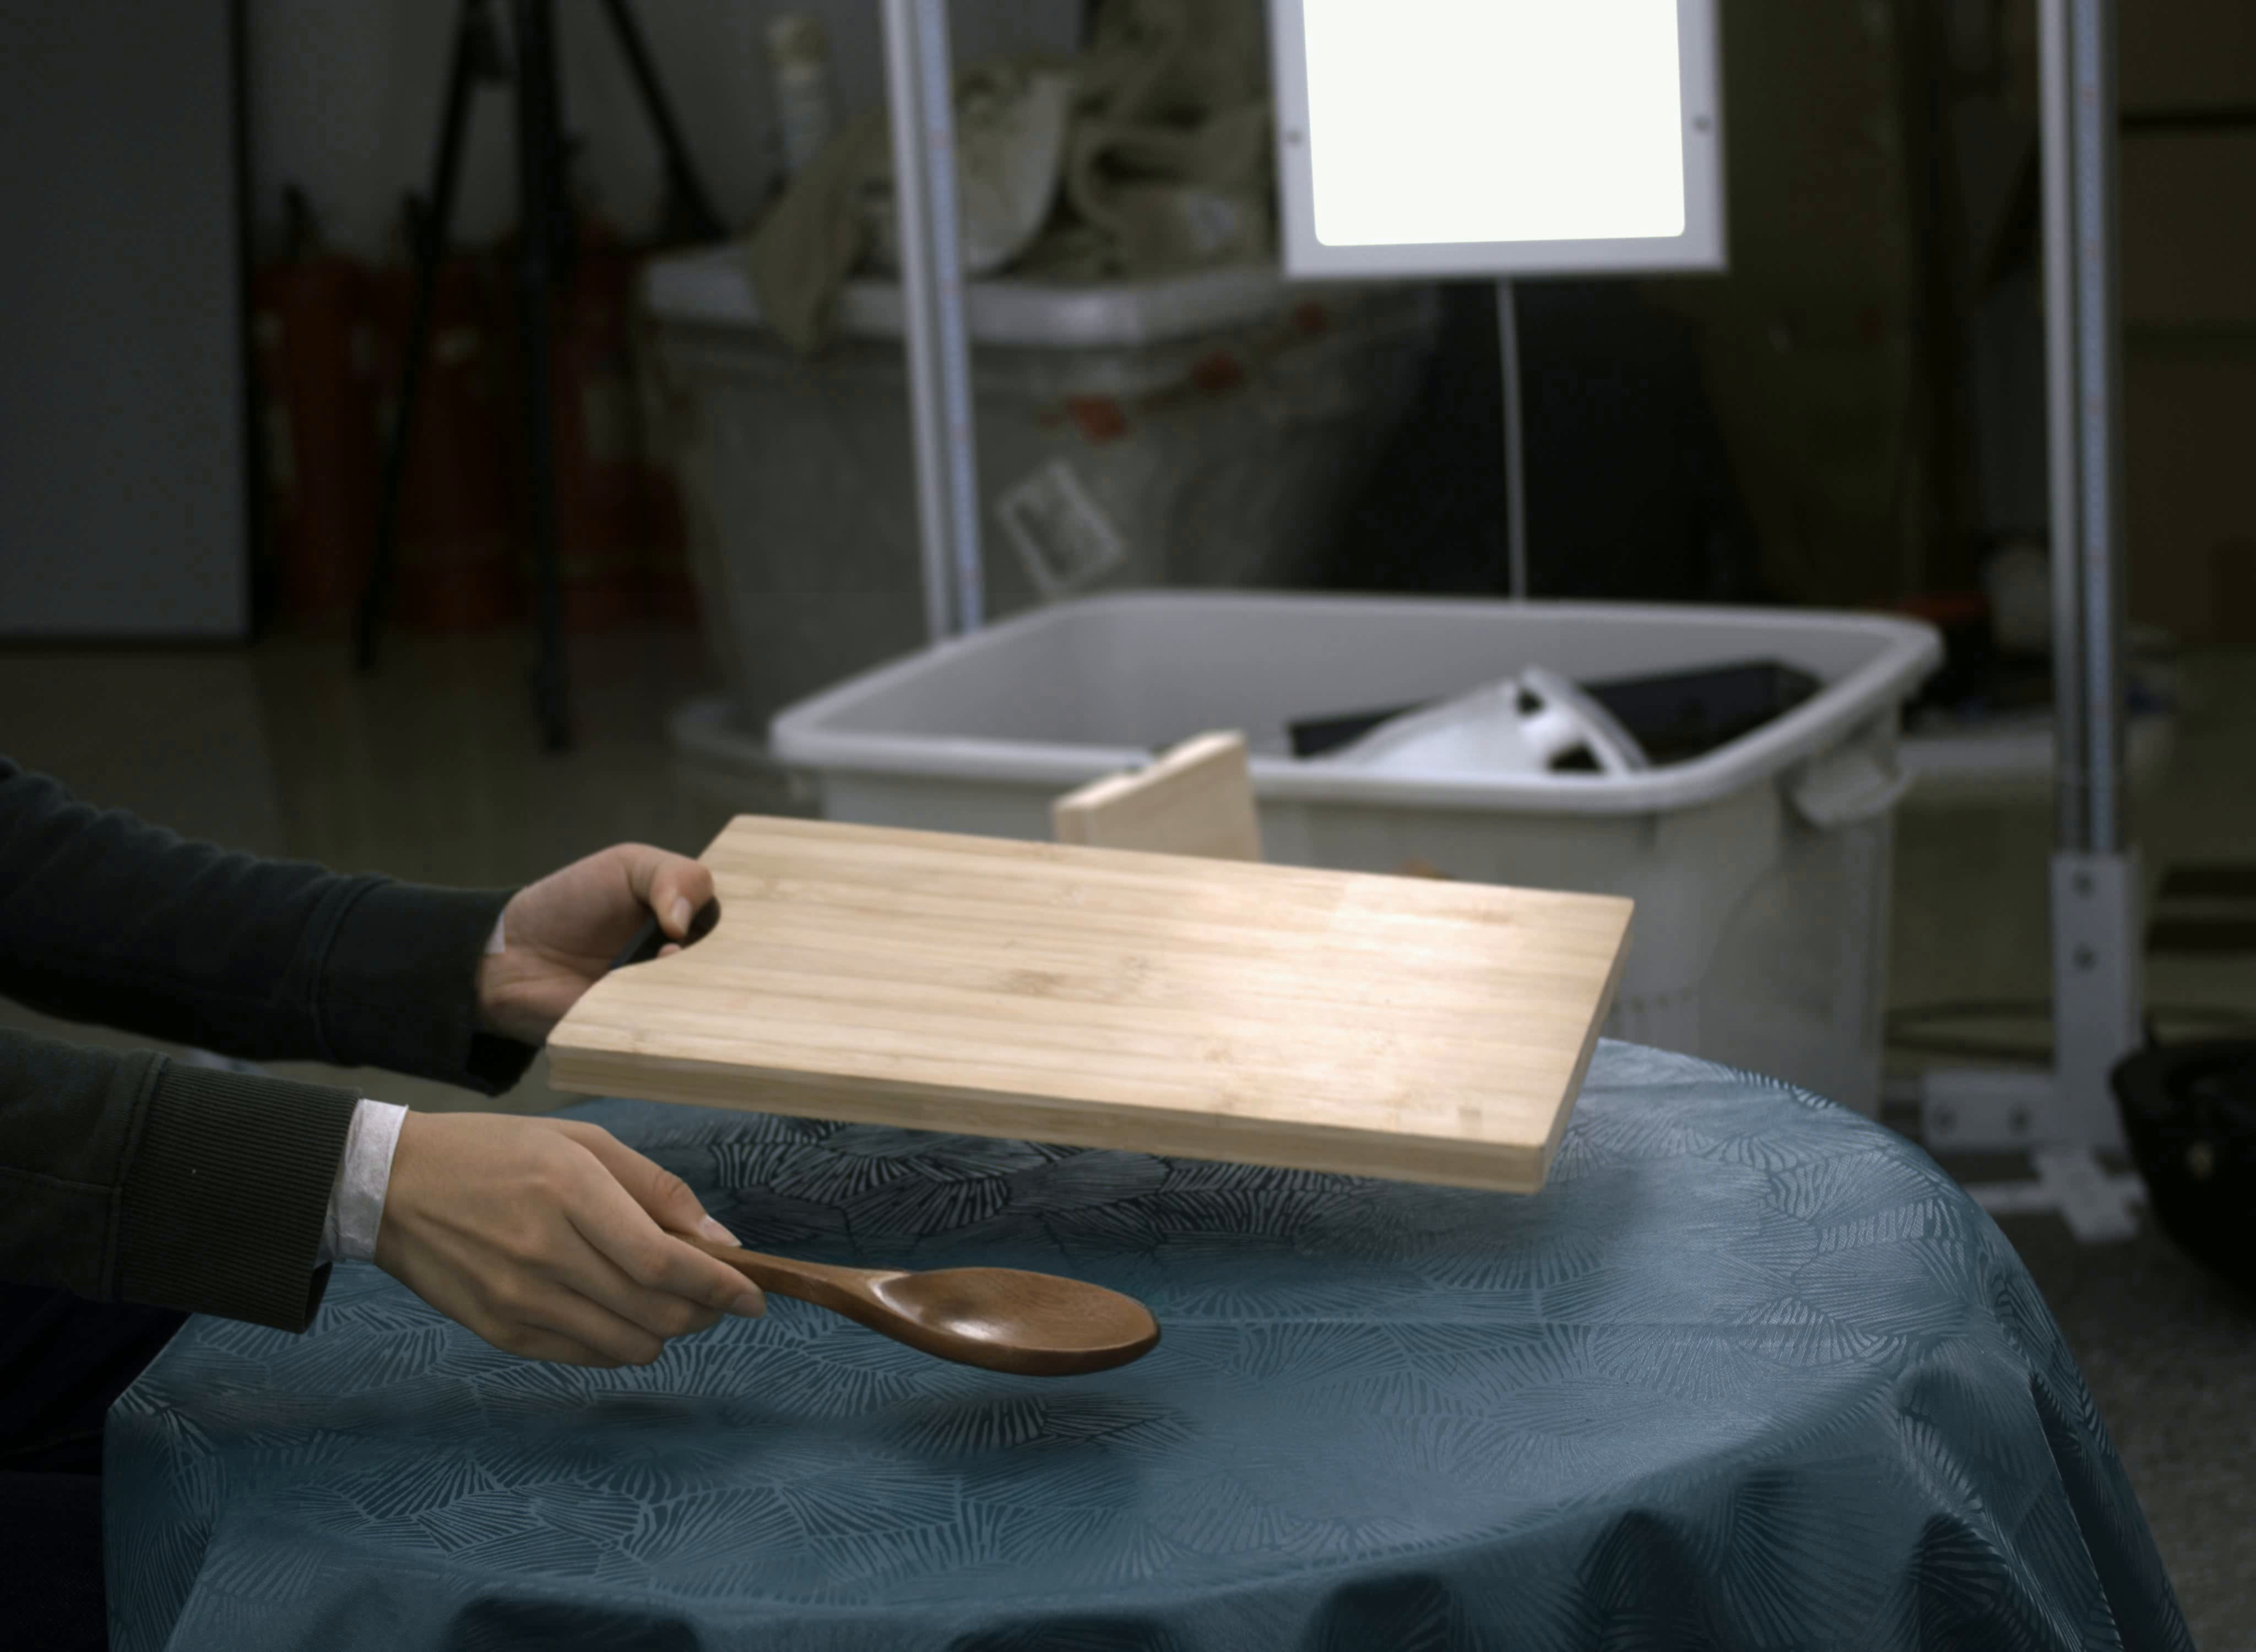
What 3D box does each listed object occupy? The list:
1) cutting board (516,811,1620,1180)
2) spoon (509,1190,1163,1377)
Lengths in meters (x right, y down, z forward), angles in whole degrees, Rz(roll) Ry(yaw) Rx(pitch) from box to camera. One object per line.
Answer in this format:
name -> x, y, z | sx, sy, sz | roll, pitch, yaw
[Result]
cutting board -> -0.014, 0.056, 1.923 | 0.351, 0.024, 0.247 | 5, 19, 12
spoon -> -0.092, 0.141, 1.702 | 0.218, 0.017, 0.074 | 11, 17, 20
